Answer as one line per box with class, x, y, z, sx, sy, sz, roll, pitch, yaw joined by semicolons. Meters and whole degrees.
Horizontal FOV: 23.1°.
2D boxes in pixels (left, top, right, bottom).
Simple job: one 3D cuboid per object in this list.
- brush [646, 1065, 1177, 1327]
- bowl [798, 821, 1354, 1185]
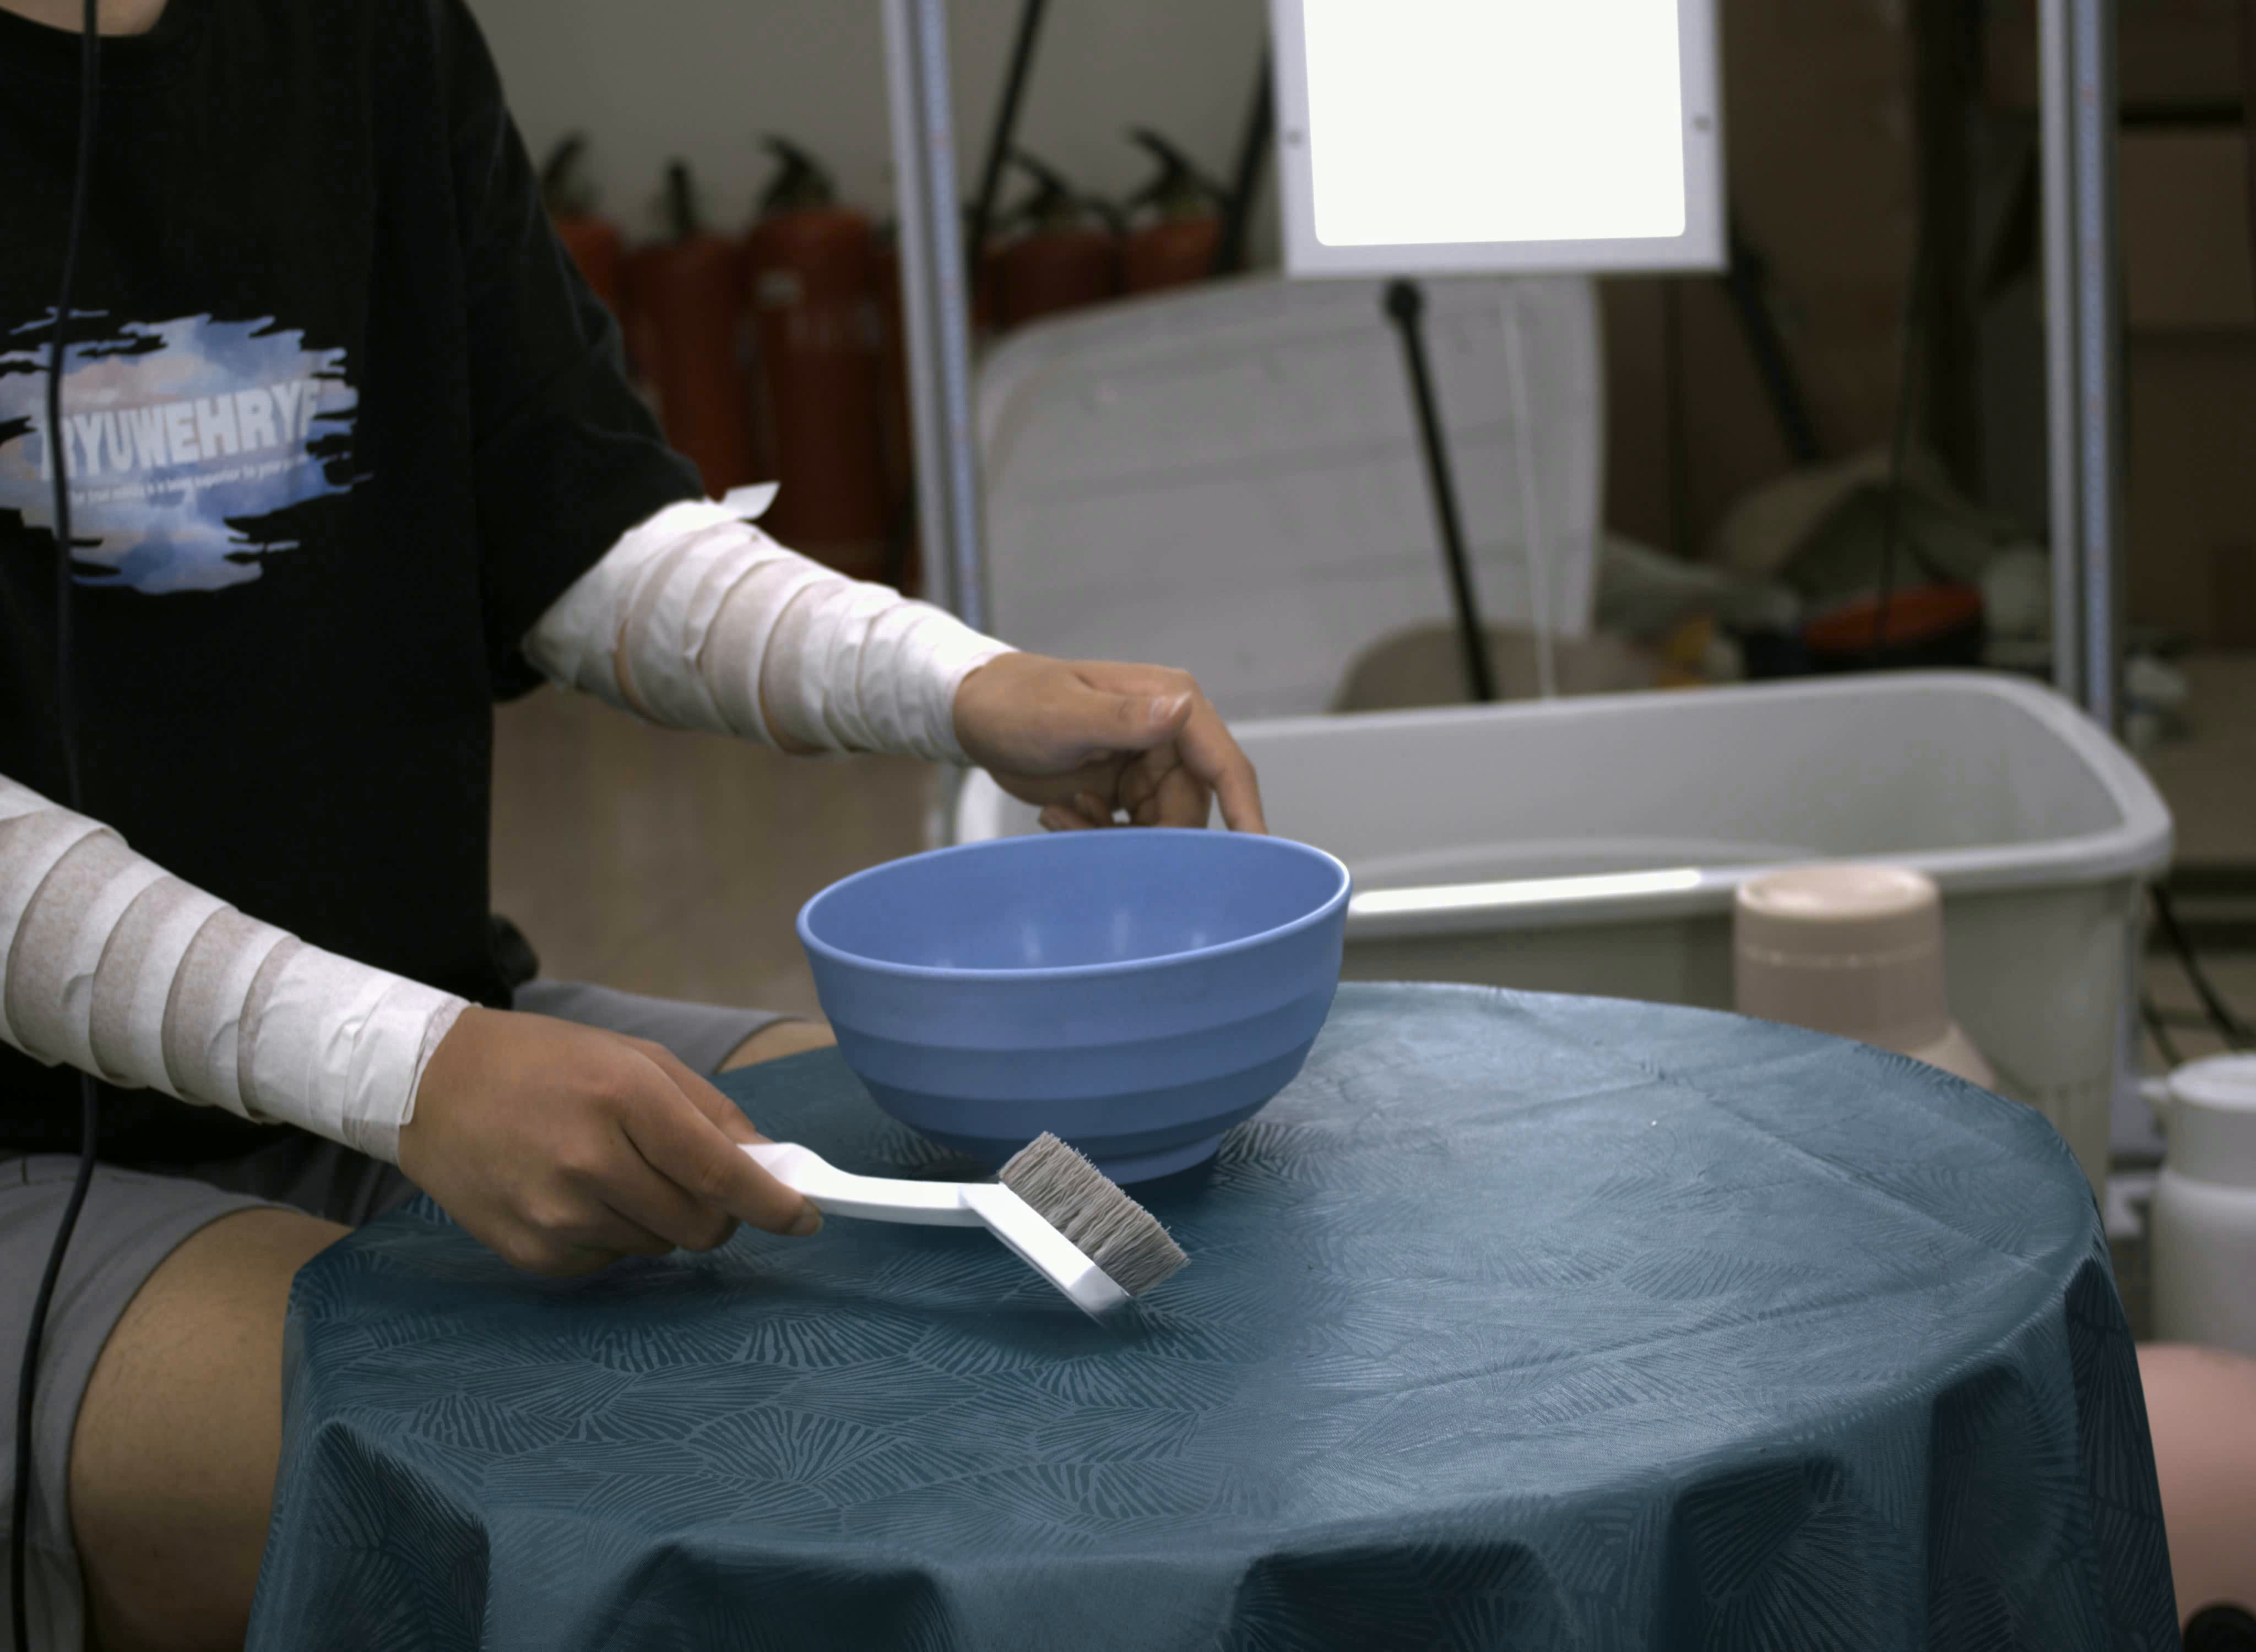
brush;-0.074;0.104;1.825;0.248;0.050;0.034;23;-7;46
bowl;-0.015;0.069;1.939;0.196;0.096;0.196;-5;15;0
